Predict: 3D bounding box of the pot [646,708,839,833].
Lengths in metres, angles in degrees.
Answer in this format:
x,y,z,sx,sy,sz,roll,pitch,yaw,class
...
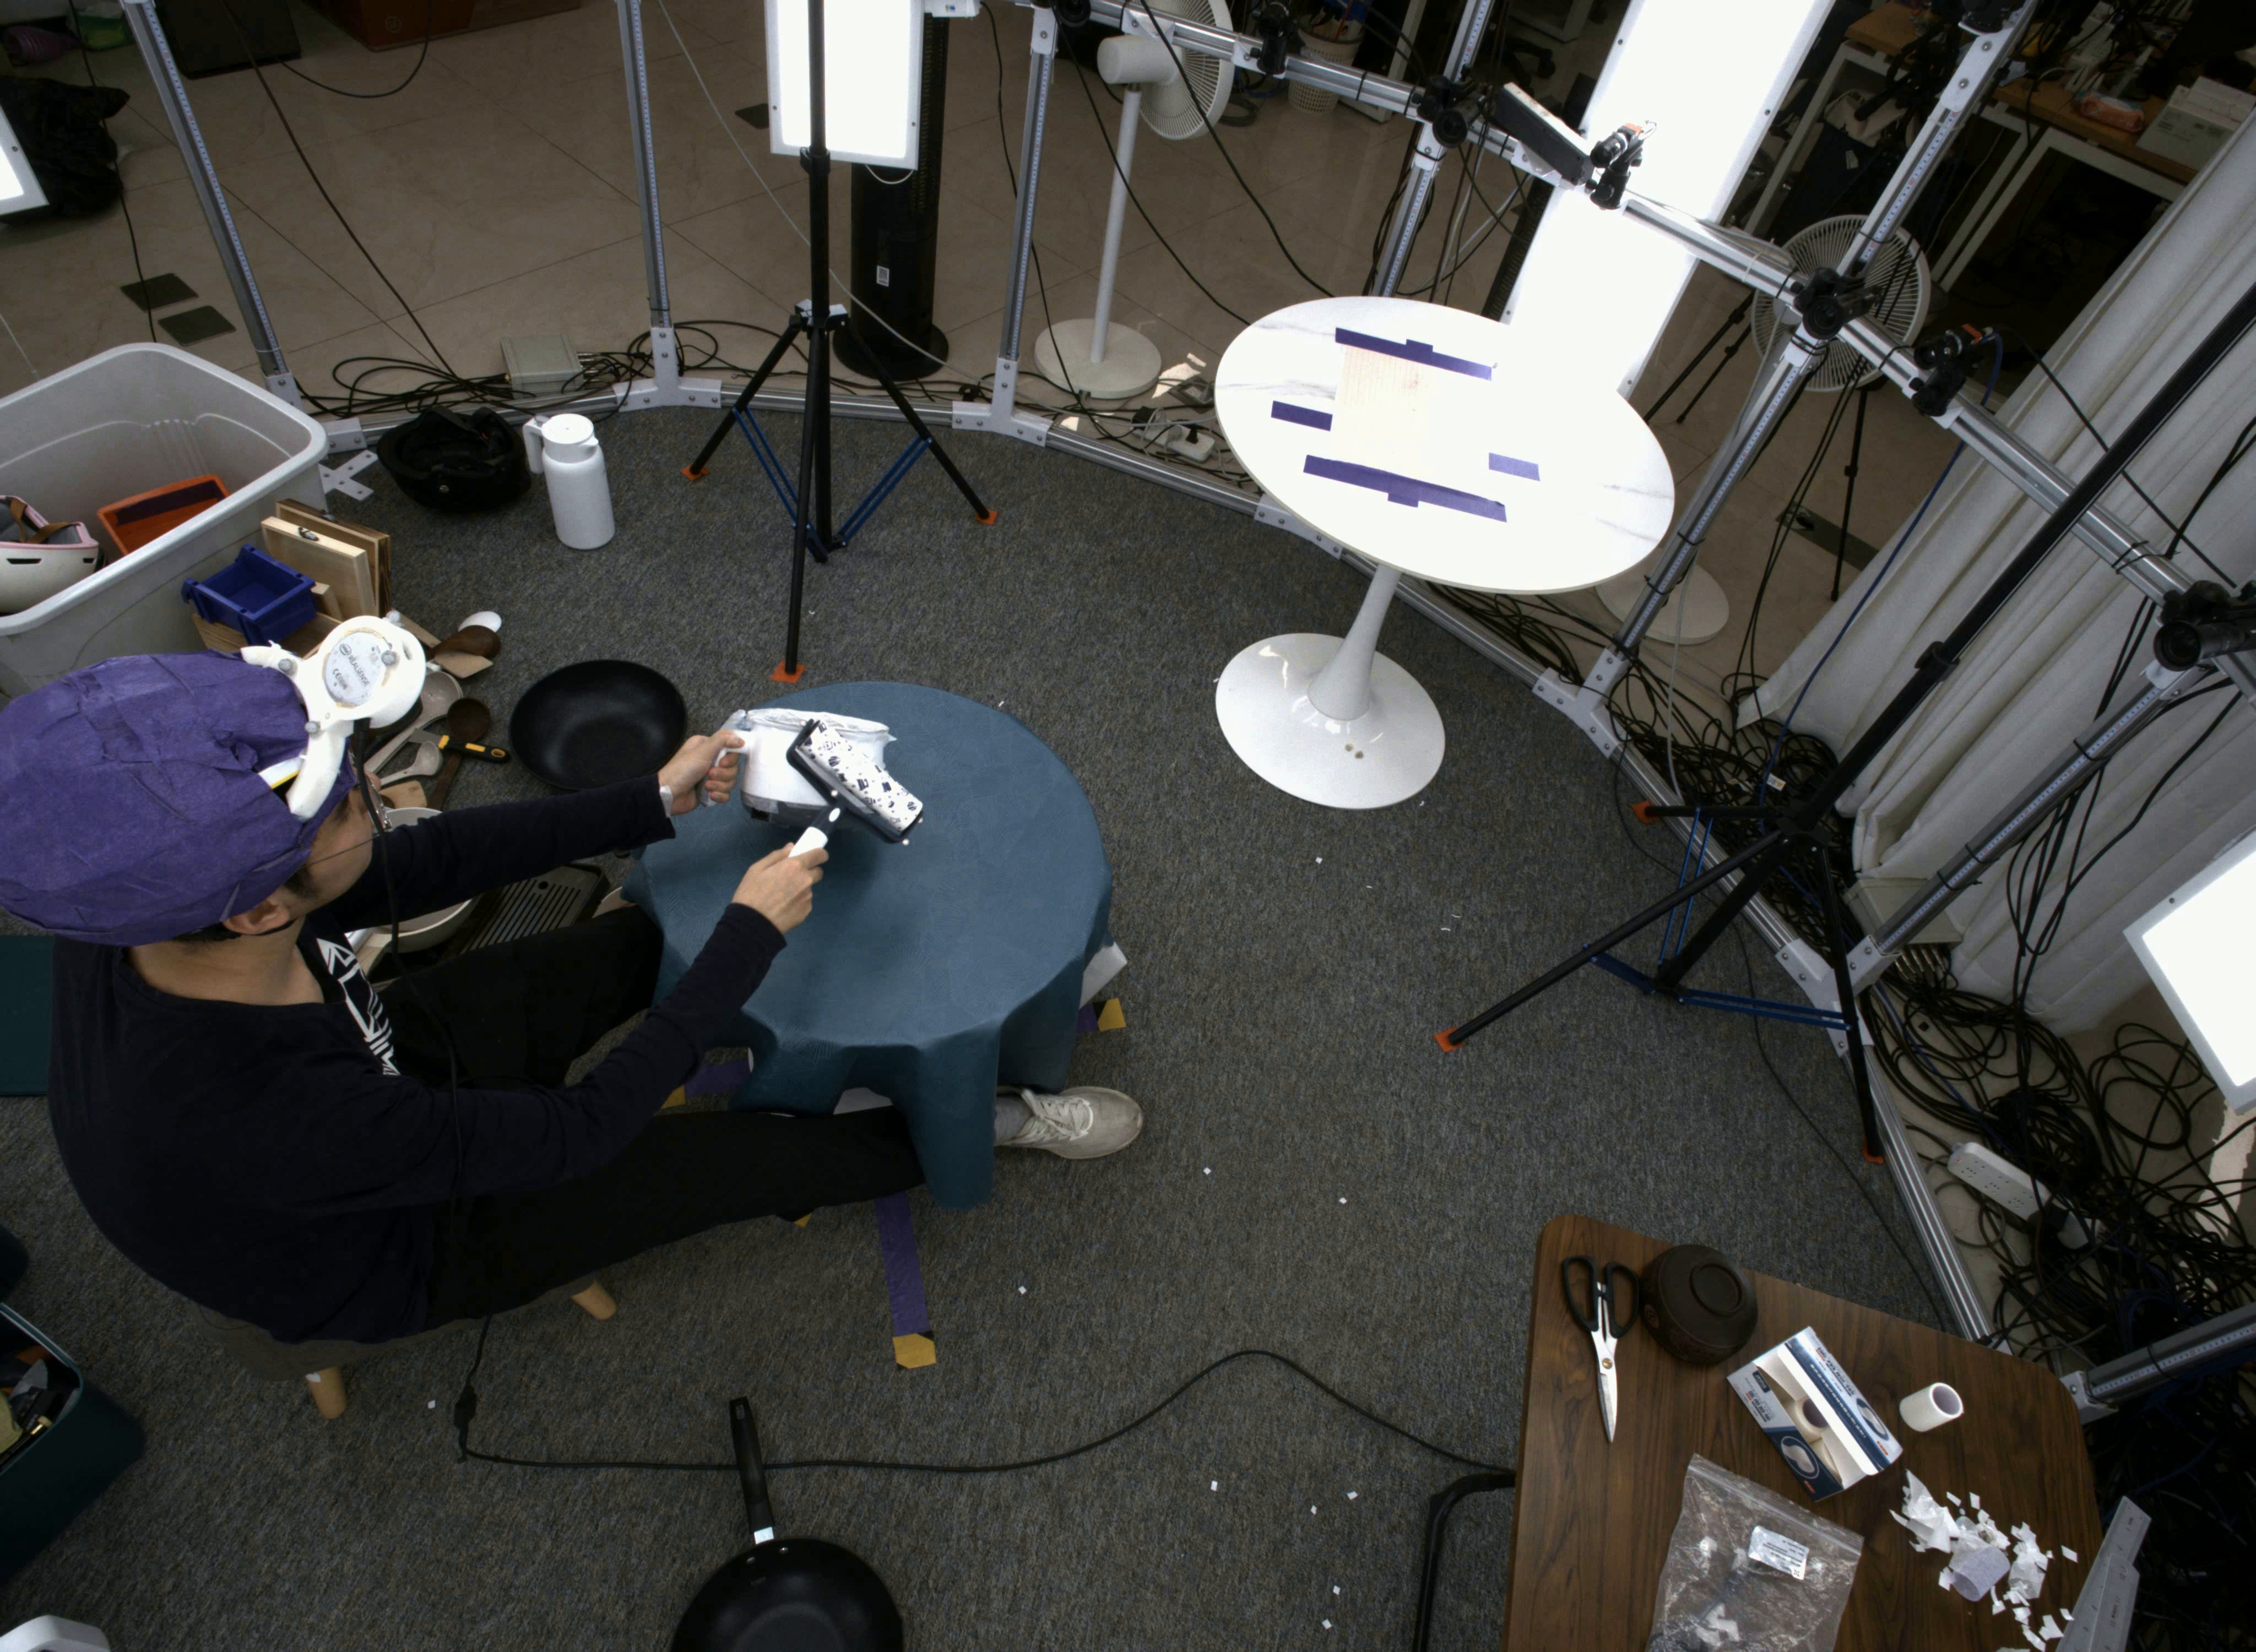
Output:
x,y,z,sx,sy,sz,roll,pitch,yaw,class
-0.485,-0.072,1.623,0.238,0.139,0.172,3,7,-35,pot

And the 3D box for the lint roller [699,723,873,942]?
x,y,z,sx,sy,sz,roll,pitch,yaw,class
-0.421,0.025,1.499,0.181,0.049,0.246,40,60,-25,lint roller
